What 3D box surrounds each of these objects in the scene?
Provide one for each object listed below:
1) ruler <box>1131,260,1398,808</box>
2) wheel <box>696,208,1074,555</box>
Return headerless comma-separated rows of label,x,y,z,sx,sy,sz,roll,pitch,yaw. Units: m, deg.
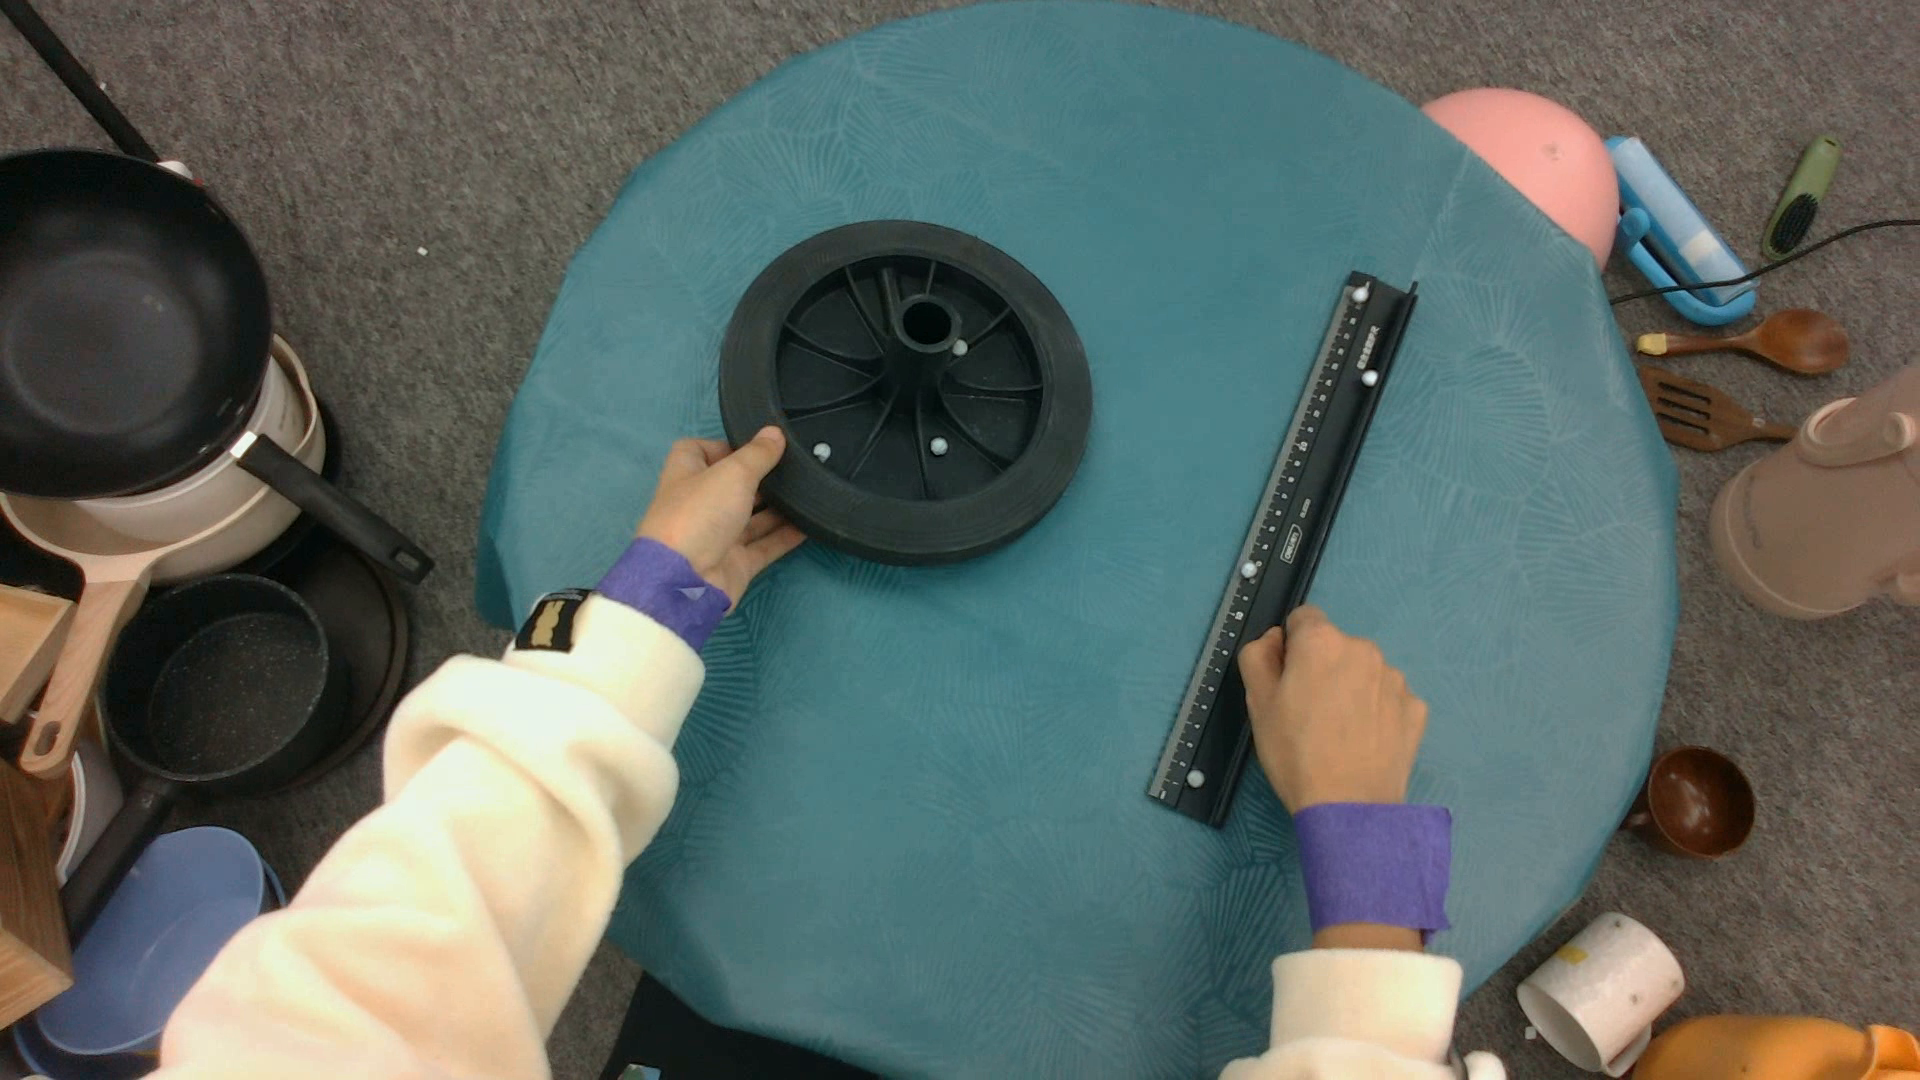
ruler,0.160,-0.016,0.696,0.039,0.017,0.313,24,71,3
wheel,-0.032,-0.090,0.670,0.188,0.079,0.190,-29,76,-21
